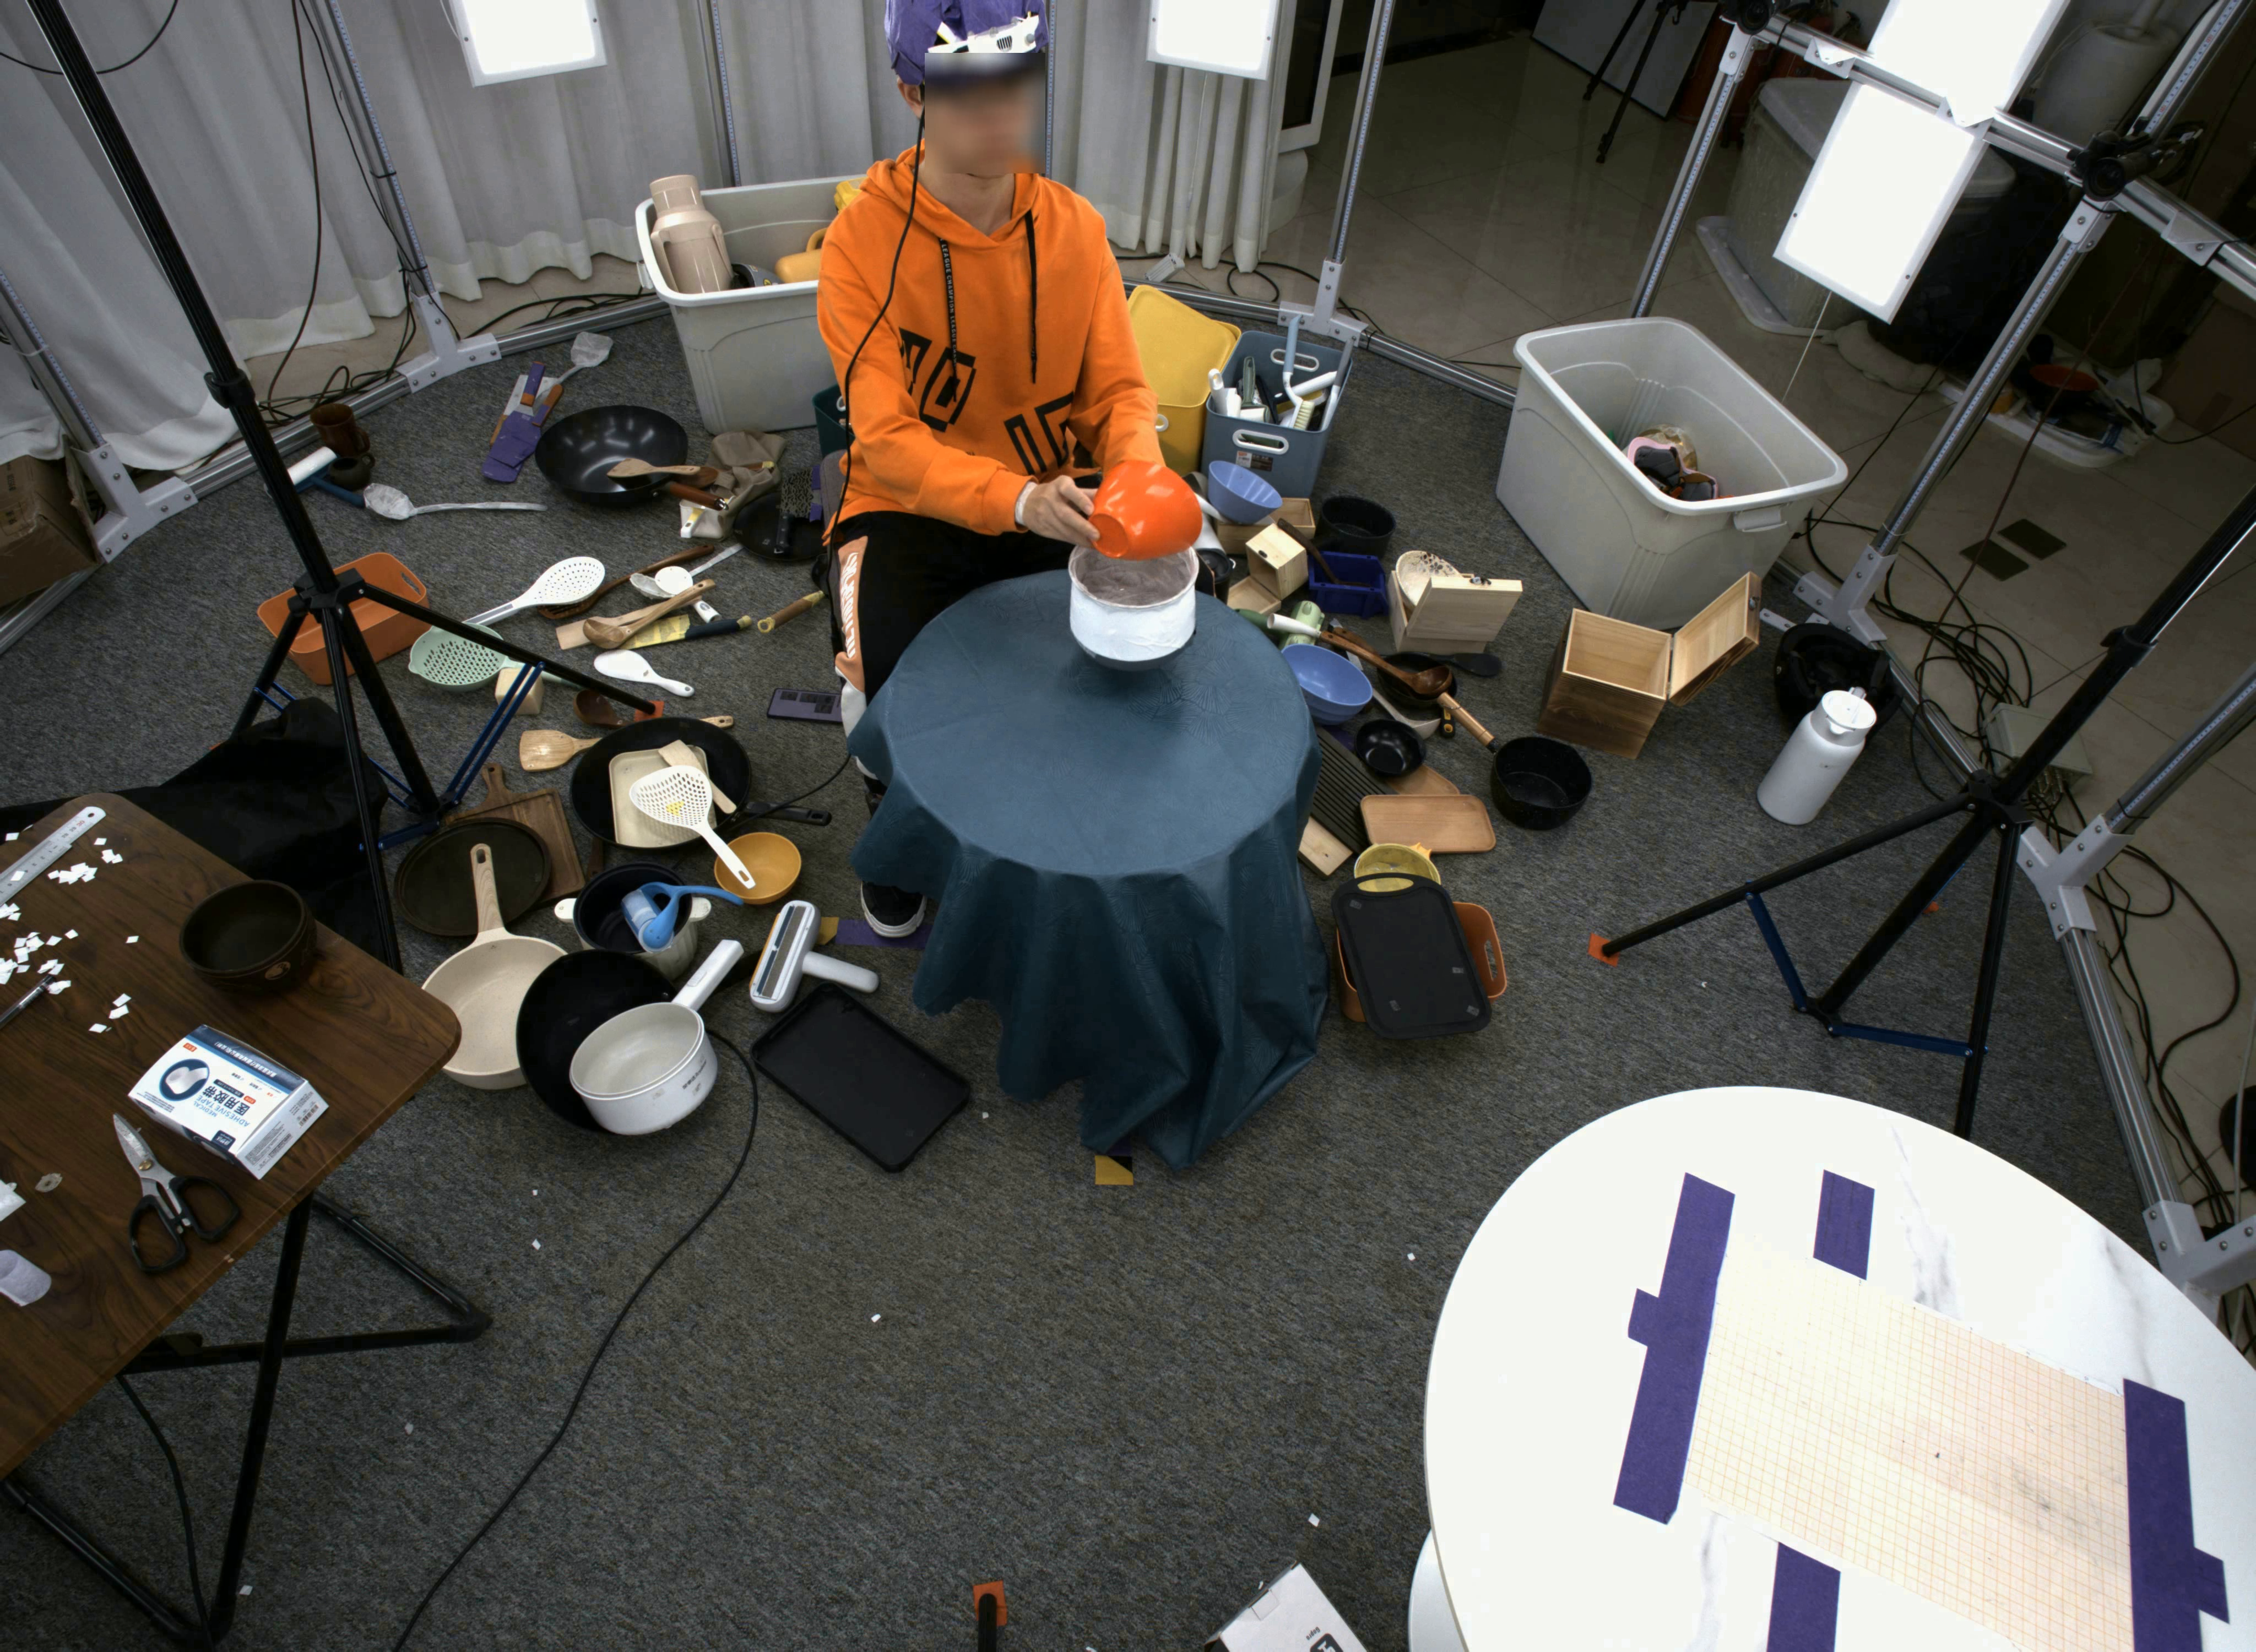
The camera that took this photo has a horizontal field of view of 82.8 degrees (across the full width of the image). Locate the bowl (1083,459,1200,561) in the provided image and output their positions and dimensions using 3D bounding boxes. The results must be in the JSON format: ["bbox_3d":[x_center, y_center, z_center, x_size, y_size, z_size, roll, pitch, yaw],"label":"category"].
[{"bbox_3d":[0.006,-0.400,1.697,0.149,0.144,0.106,27,52,18],"label":"bowl"}]

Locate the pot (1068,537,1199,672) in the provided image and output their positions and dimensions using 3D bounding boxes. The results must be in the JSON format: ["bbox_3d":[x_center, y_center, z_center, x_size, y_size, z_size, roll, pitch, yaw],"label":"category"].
[{"bbox_3d":[0.008,-0.334,1.803,0.178,0.133,0.239,1,49,1],"label":"pot"}]
